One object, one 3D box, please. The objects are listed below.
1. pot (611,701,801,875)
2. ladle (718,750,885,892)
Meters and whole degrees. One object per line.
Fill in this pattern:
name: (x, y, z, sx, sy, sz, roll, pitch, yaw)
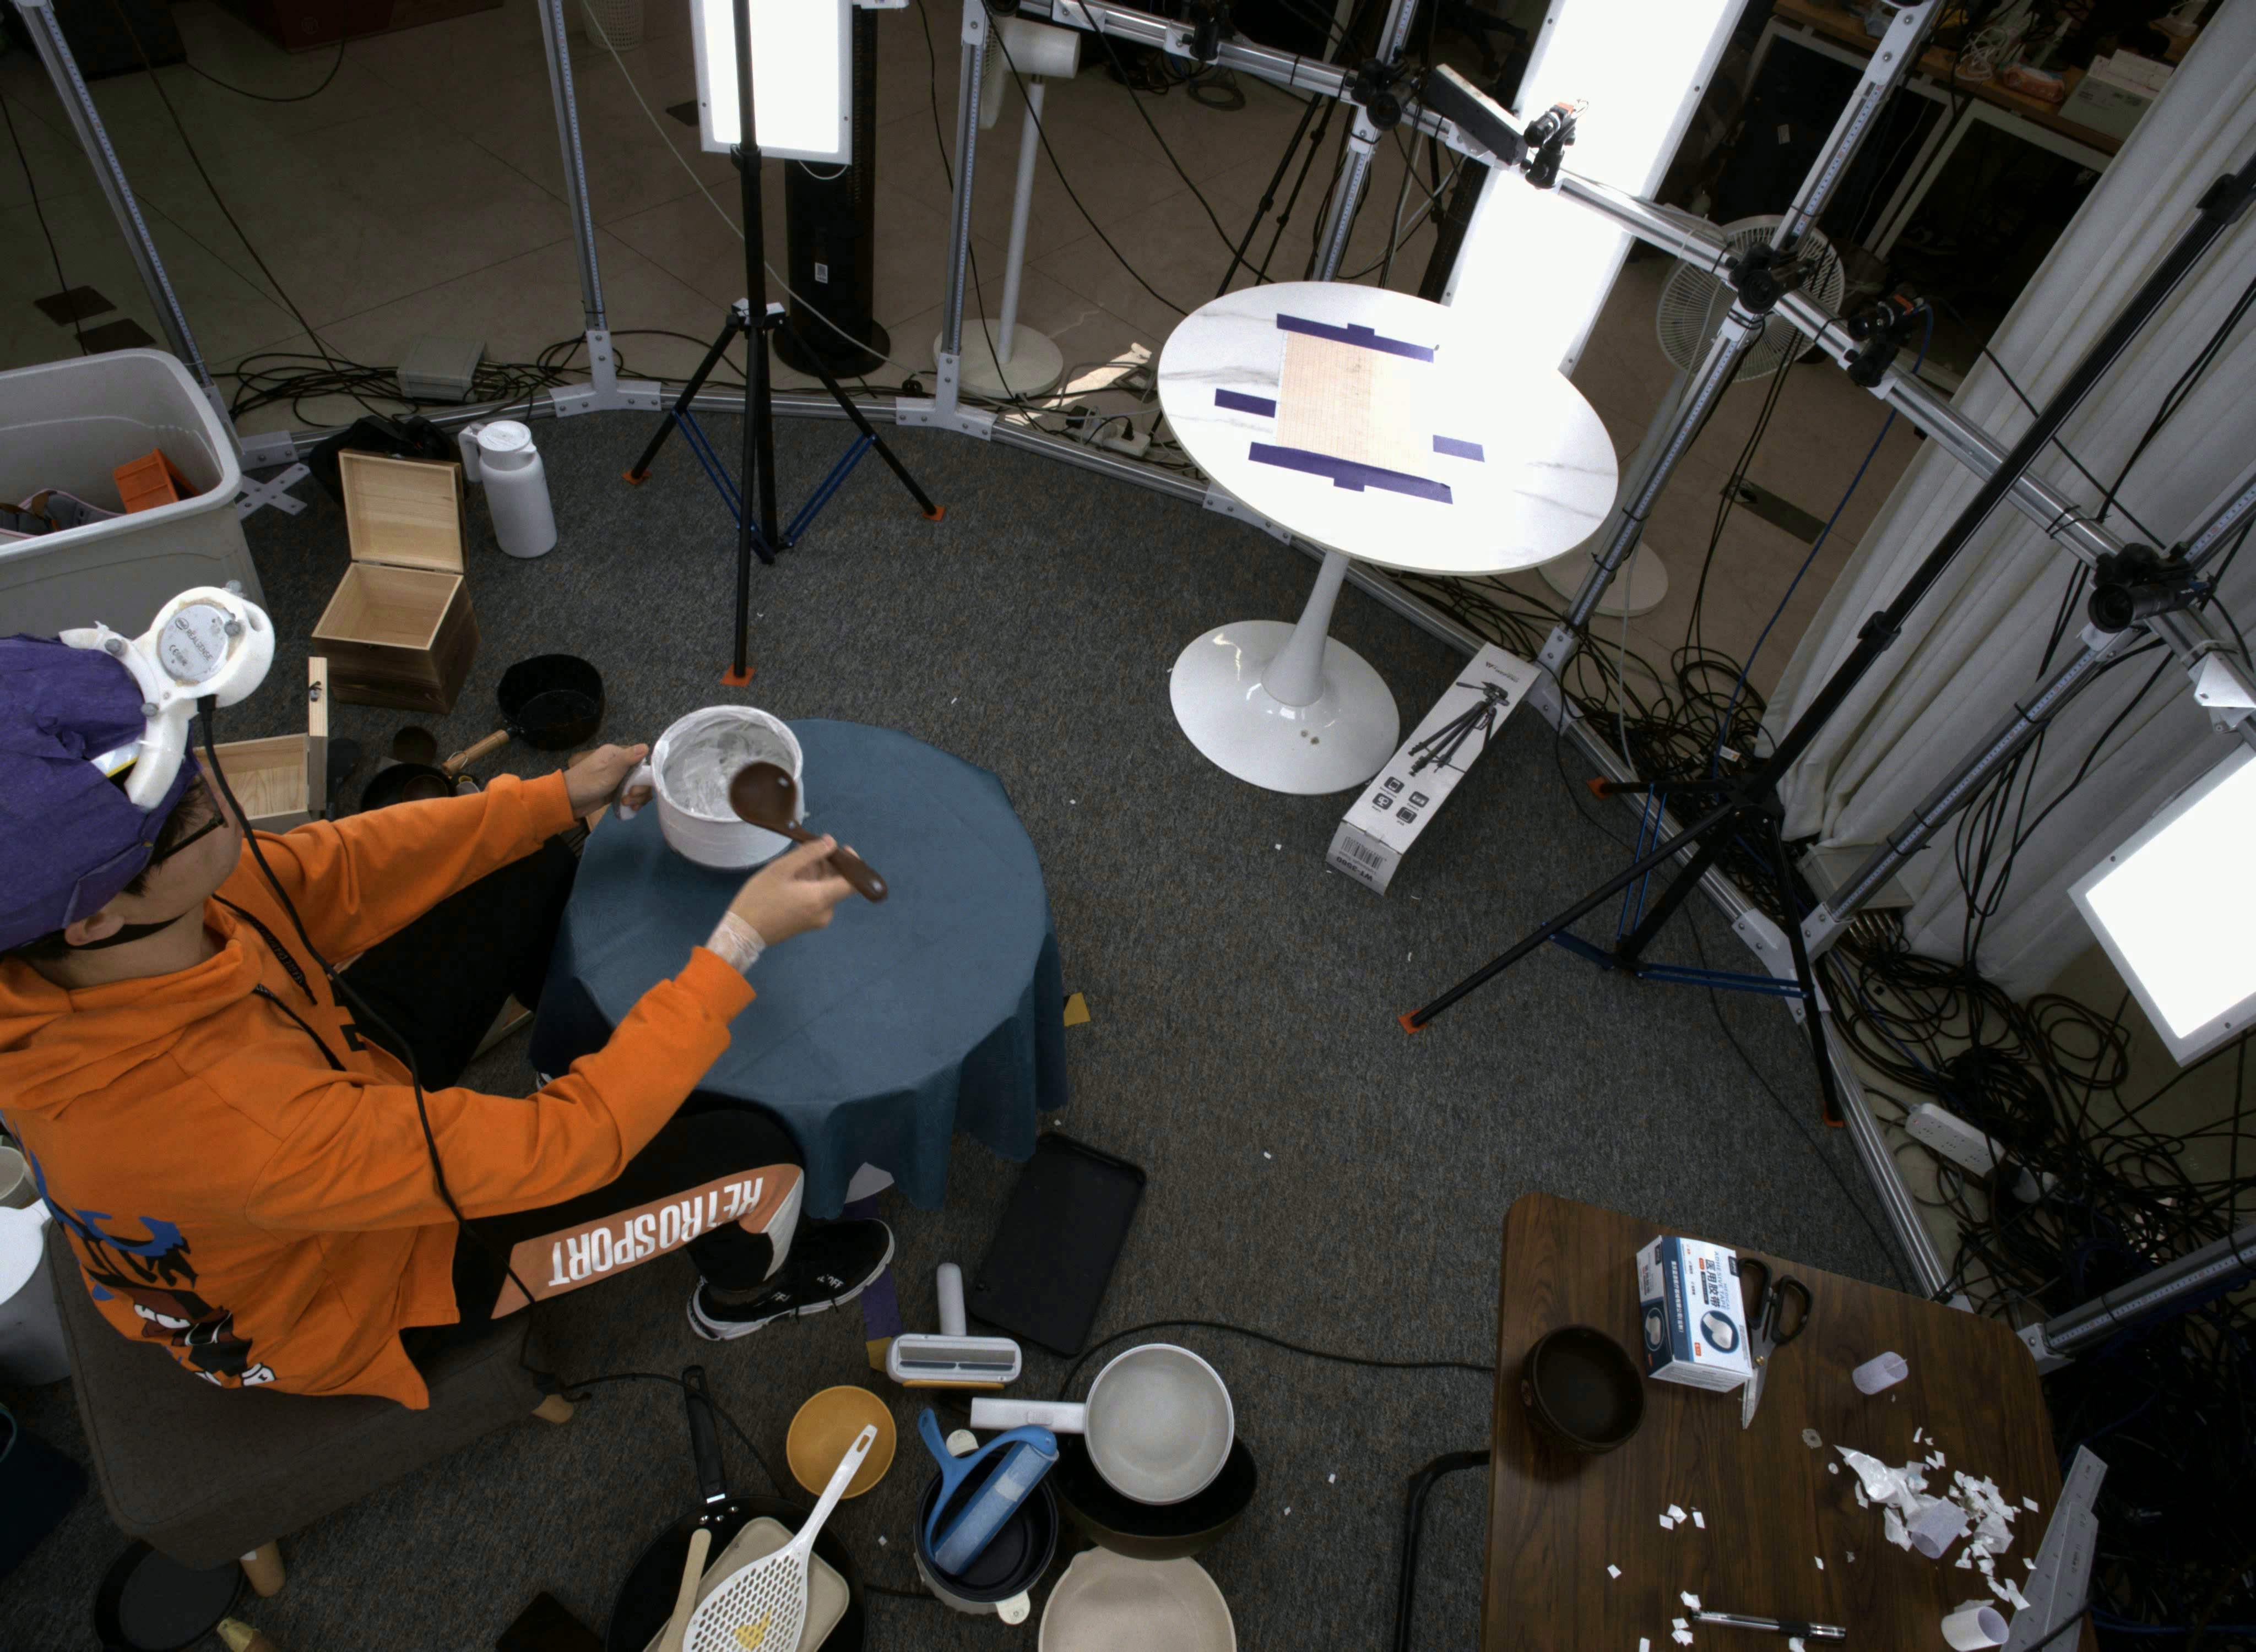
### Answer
pot: (-0.516, -0.043, 1.567, 0.234, 0.139, 0.175, 1, 55, -13)
ladle: (-0.338, -0.008, 1.340, 0.250, 0.067, 0.076, 28, 57, 38)
